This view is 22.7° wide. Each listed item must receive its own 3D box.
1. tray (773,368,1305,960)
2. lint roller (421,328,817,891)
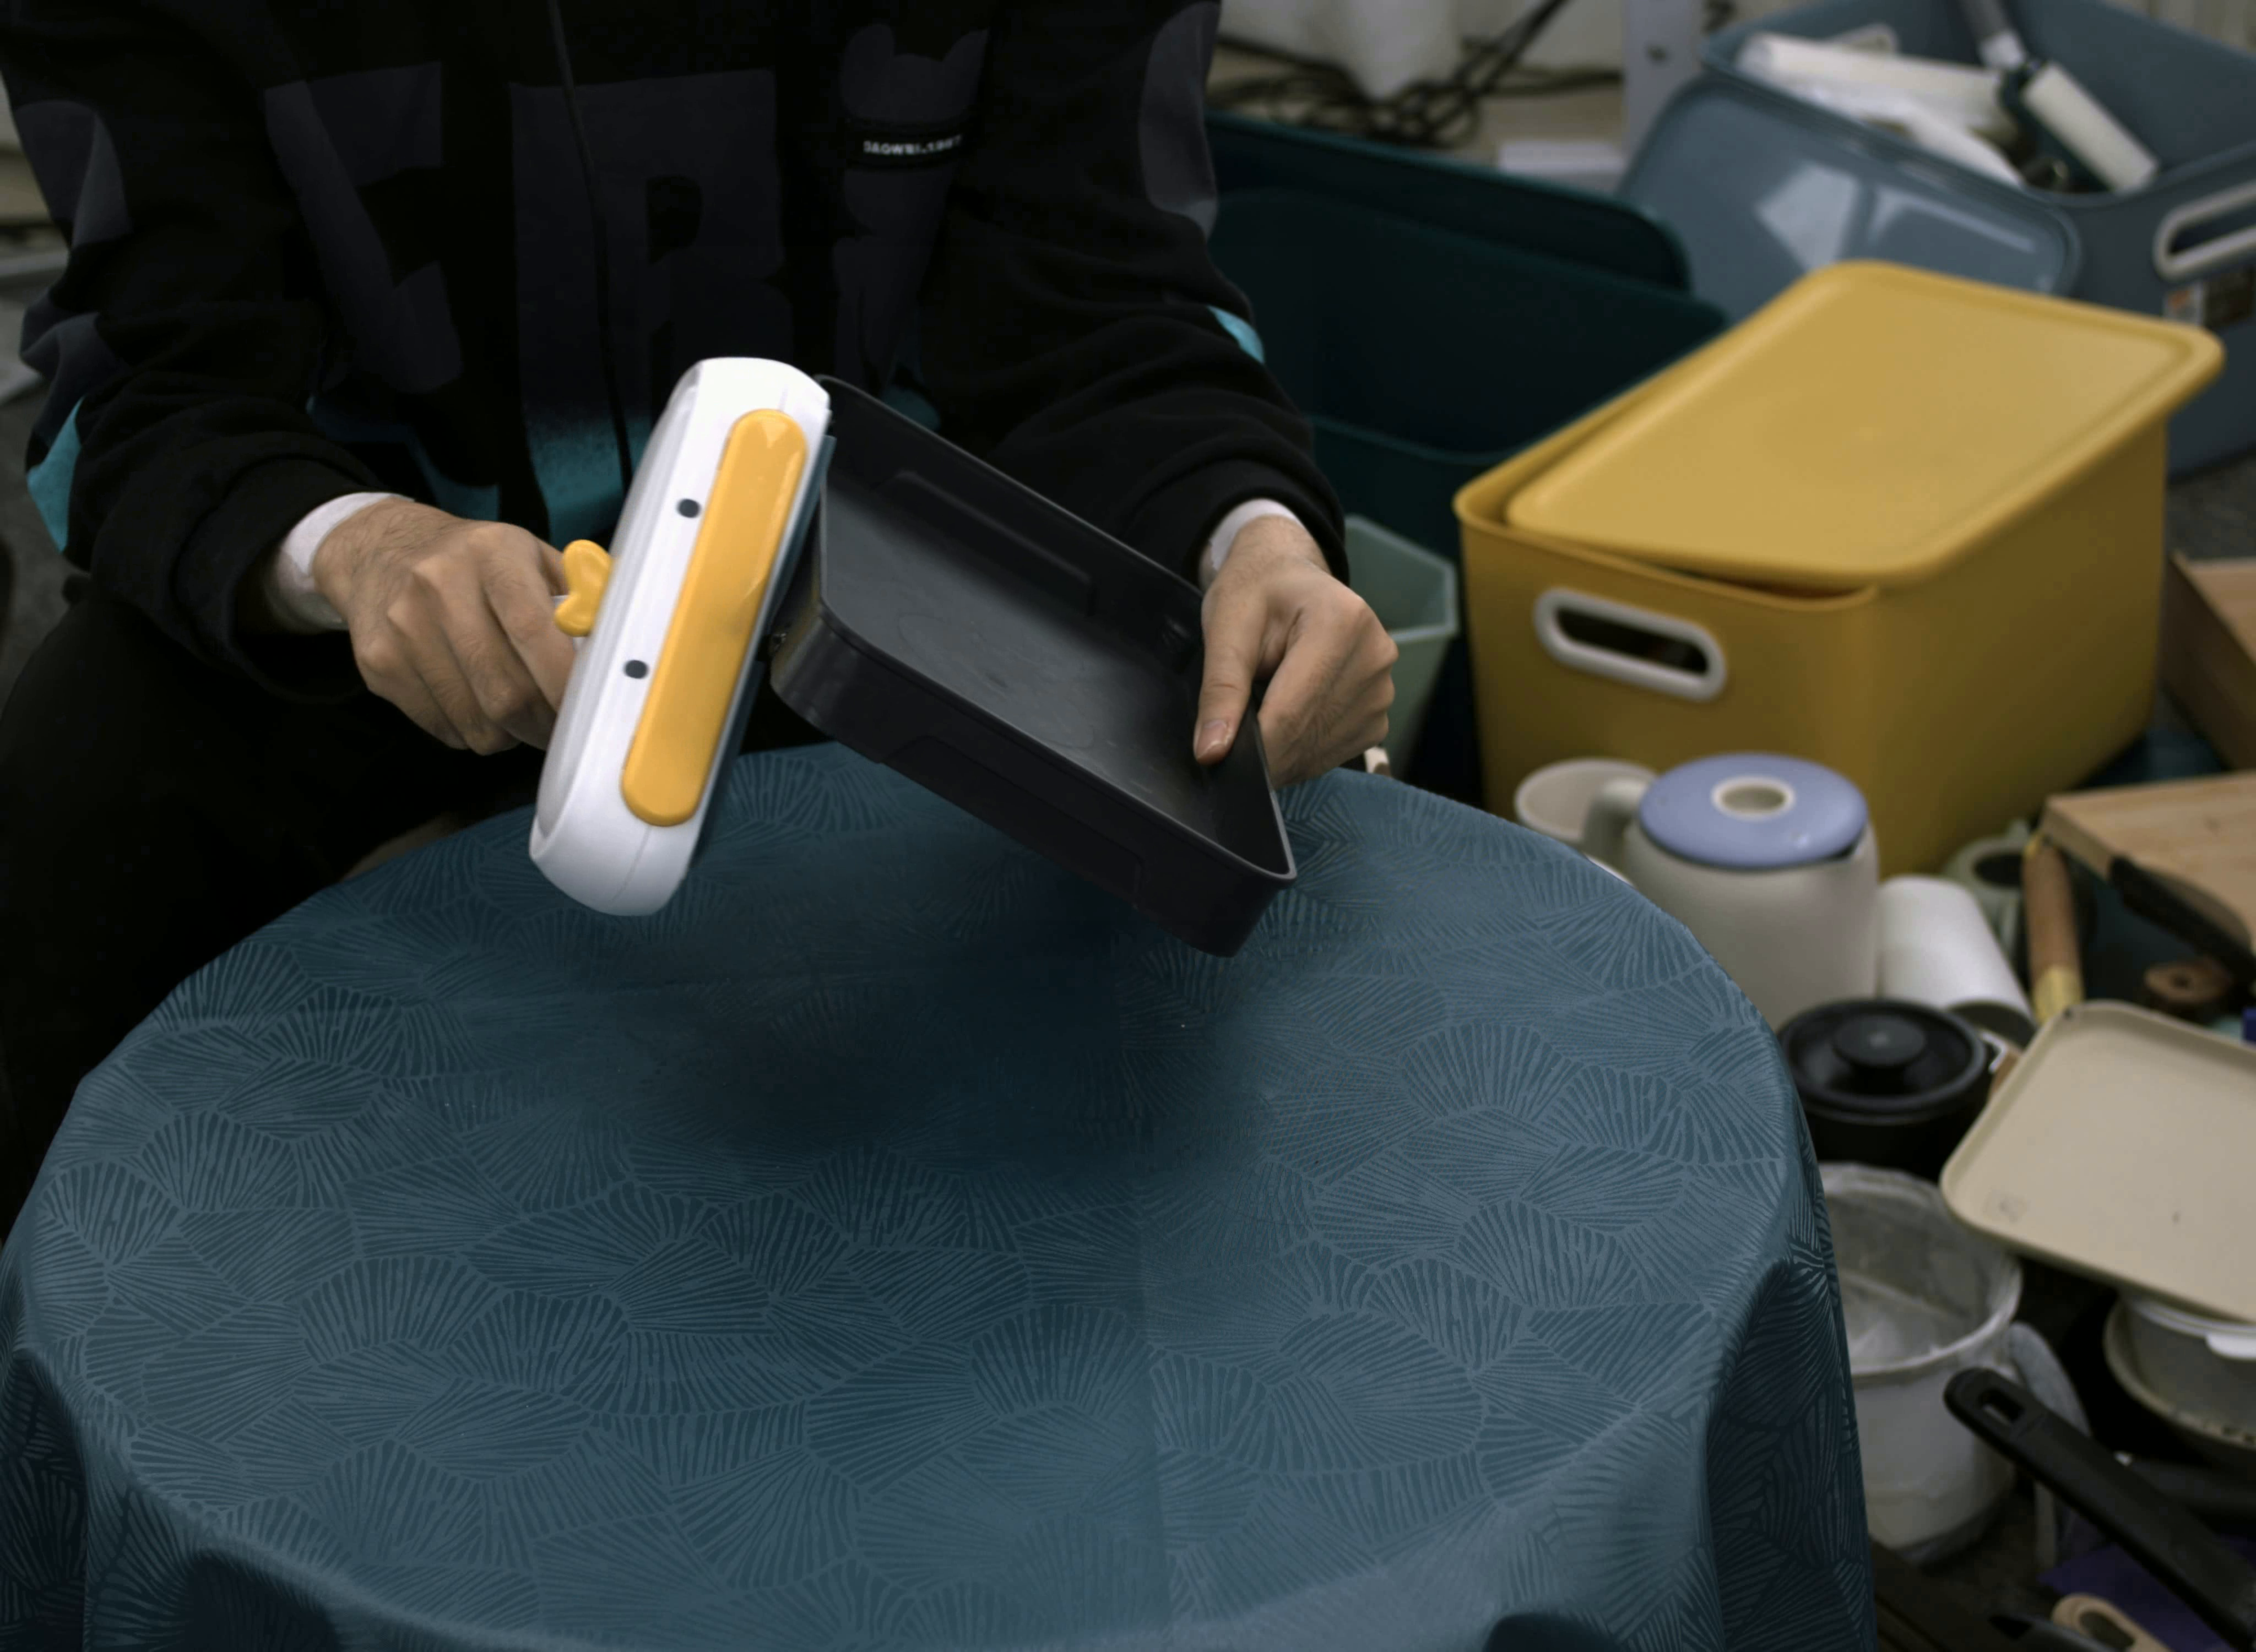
[{"bbox_3d":[-0.038,-0.061,1.939,0.183,0.037,0.321,30,15,-14],"label":"tray"},{"bbox_3d":[-0.179,-0.063,1.901,0.074,0.196,0.190,18,-20,-23],"label":"lint roller"}]
